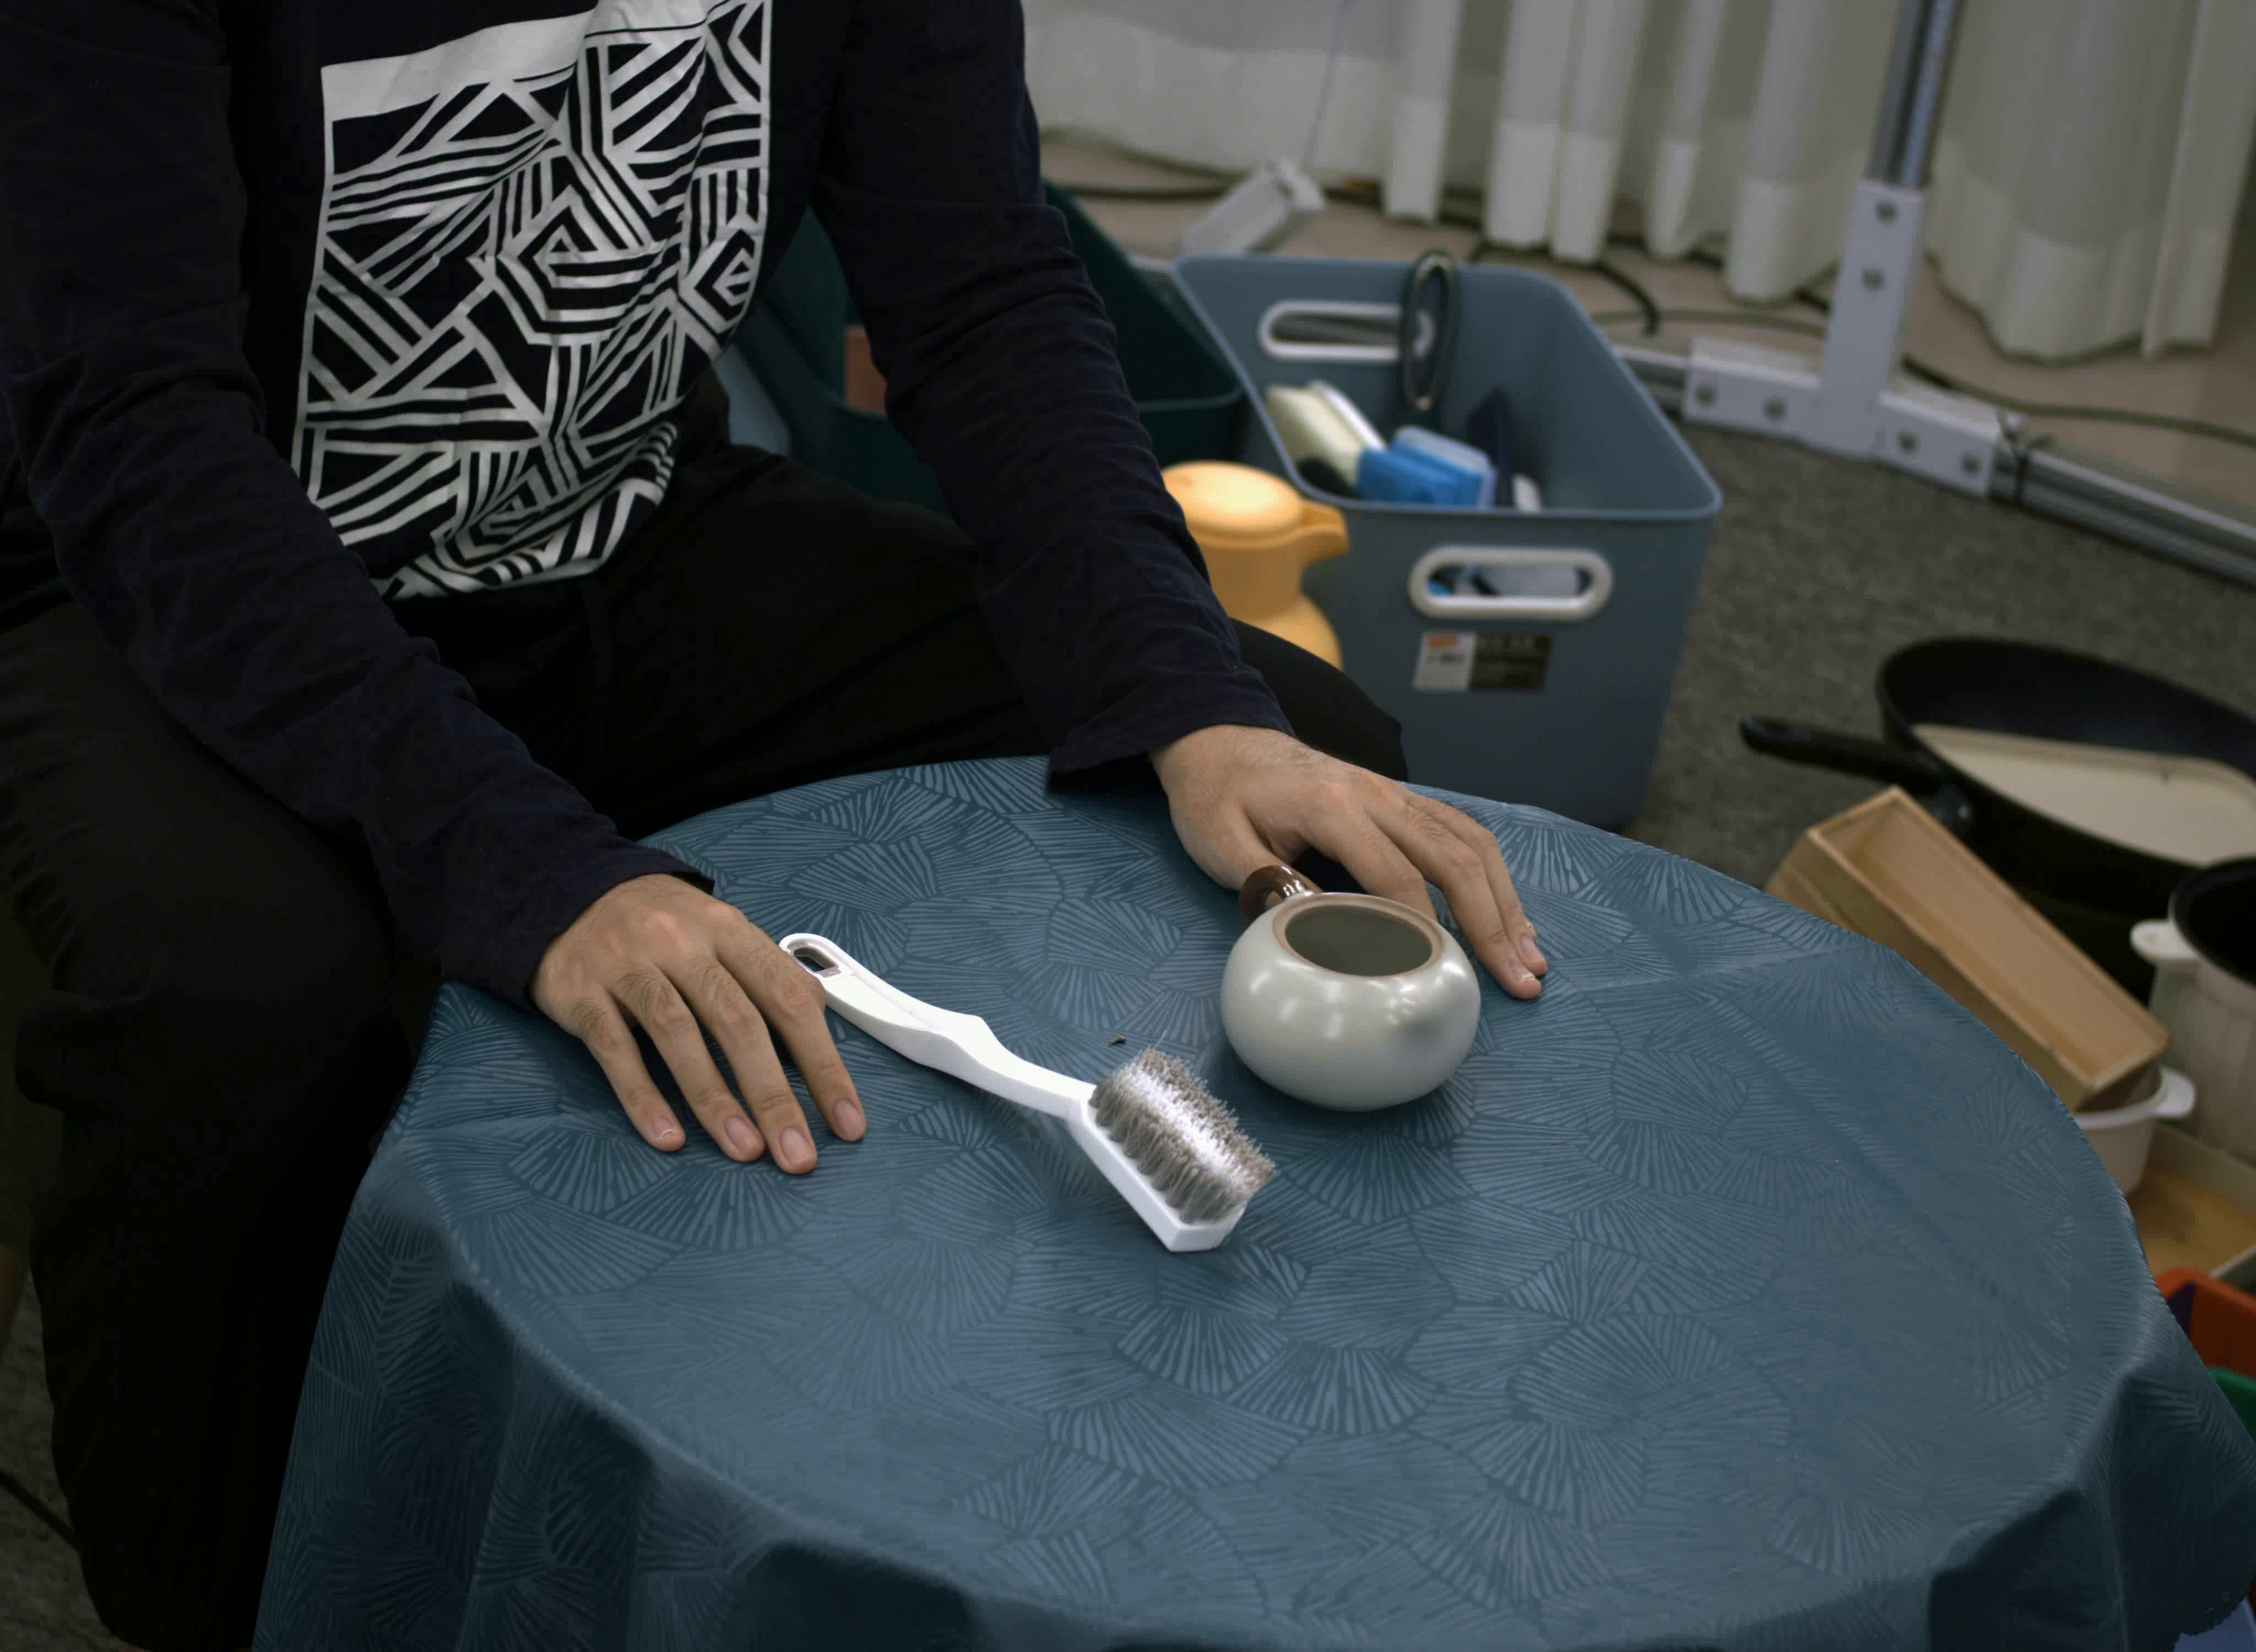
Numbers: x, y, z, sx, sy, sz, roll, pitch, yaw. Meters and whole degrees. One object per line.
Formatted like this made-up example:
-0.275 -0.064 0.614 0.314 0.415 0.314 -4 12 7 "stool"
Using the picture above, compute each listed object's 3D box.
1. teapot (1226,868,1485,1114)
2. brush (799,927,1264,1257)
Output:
0.075 0.059 1.888 0.091 0.059 0.129 -13 33 -30 "teapot"
-0.039 0.075 1.842 0.034 0.050 0.246 -18 36 -33 "brush"
